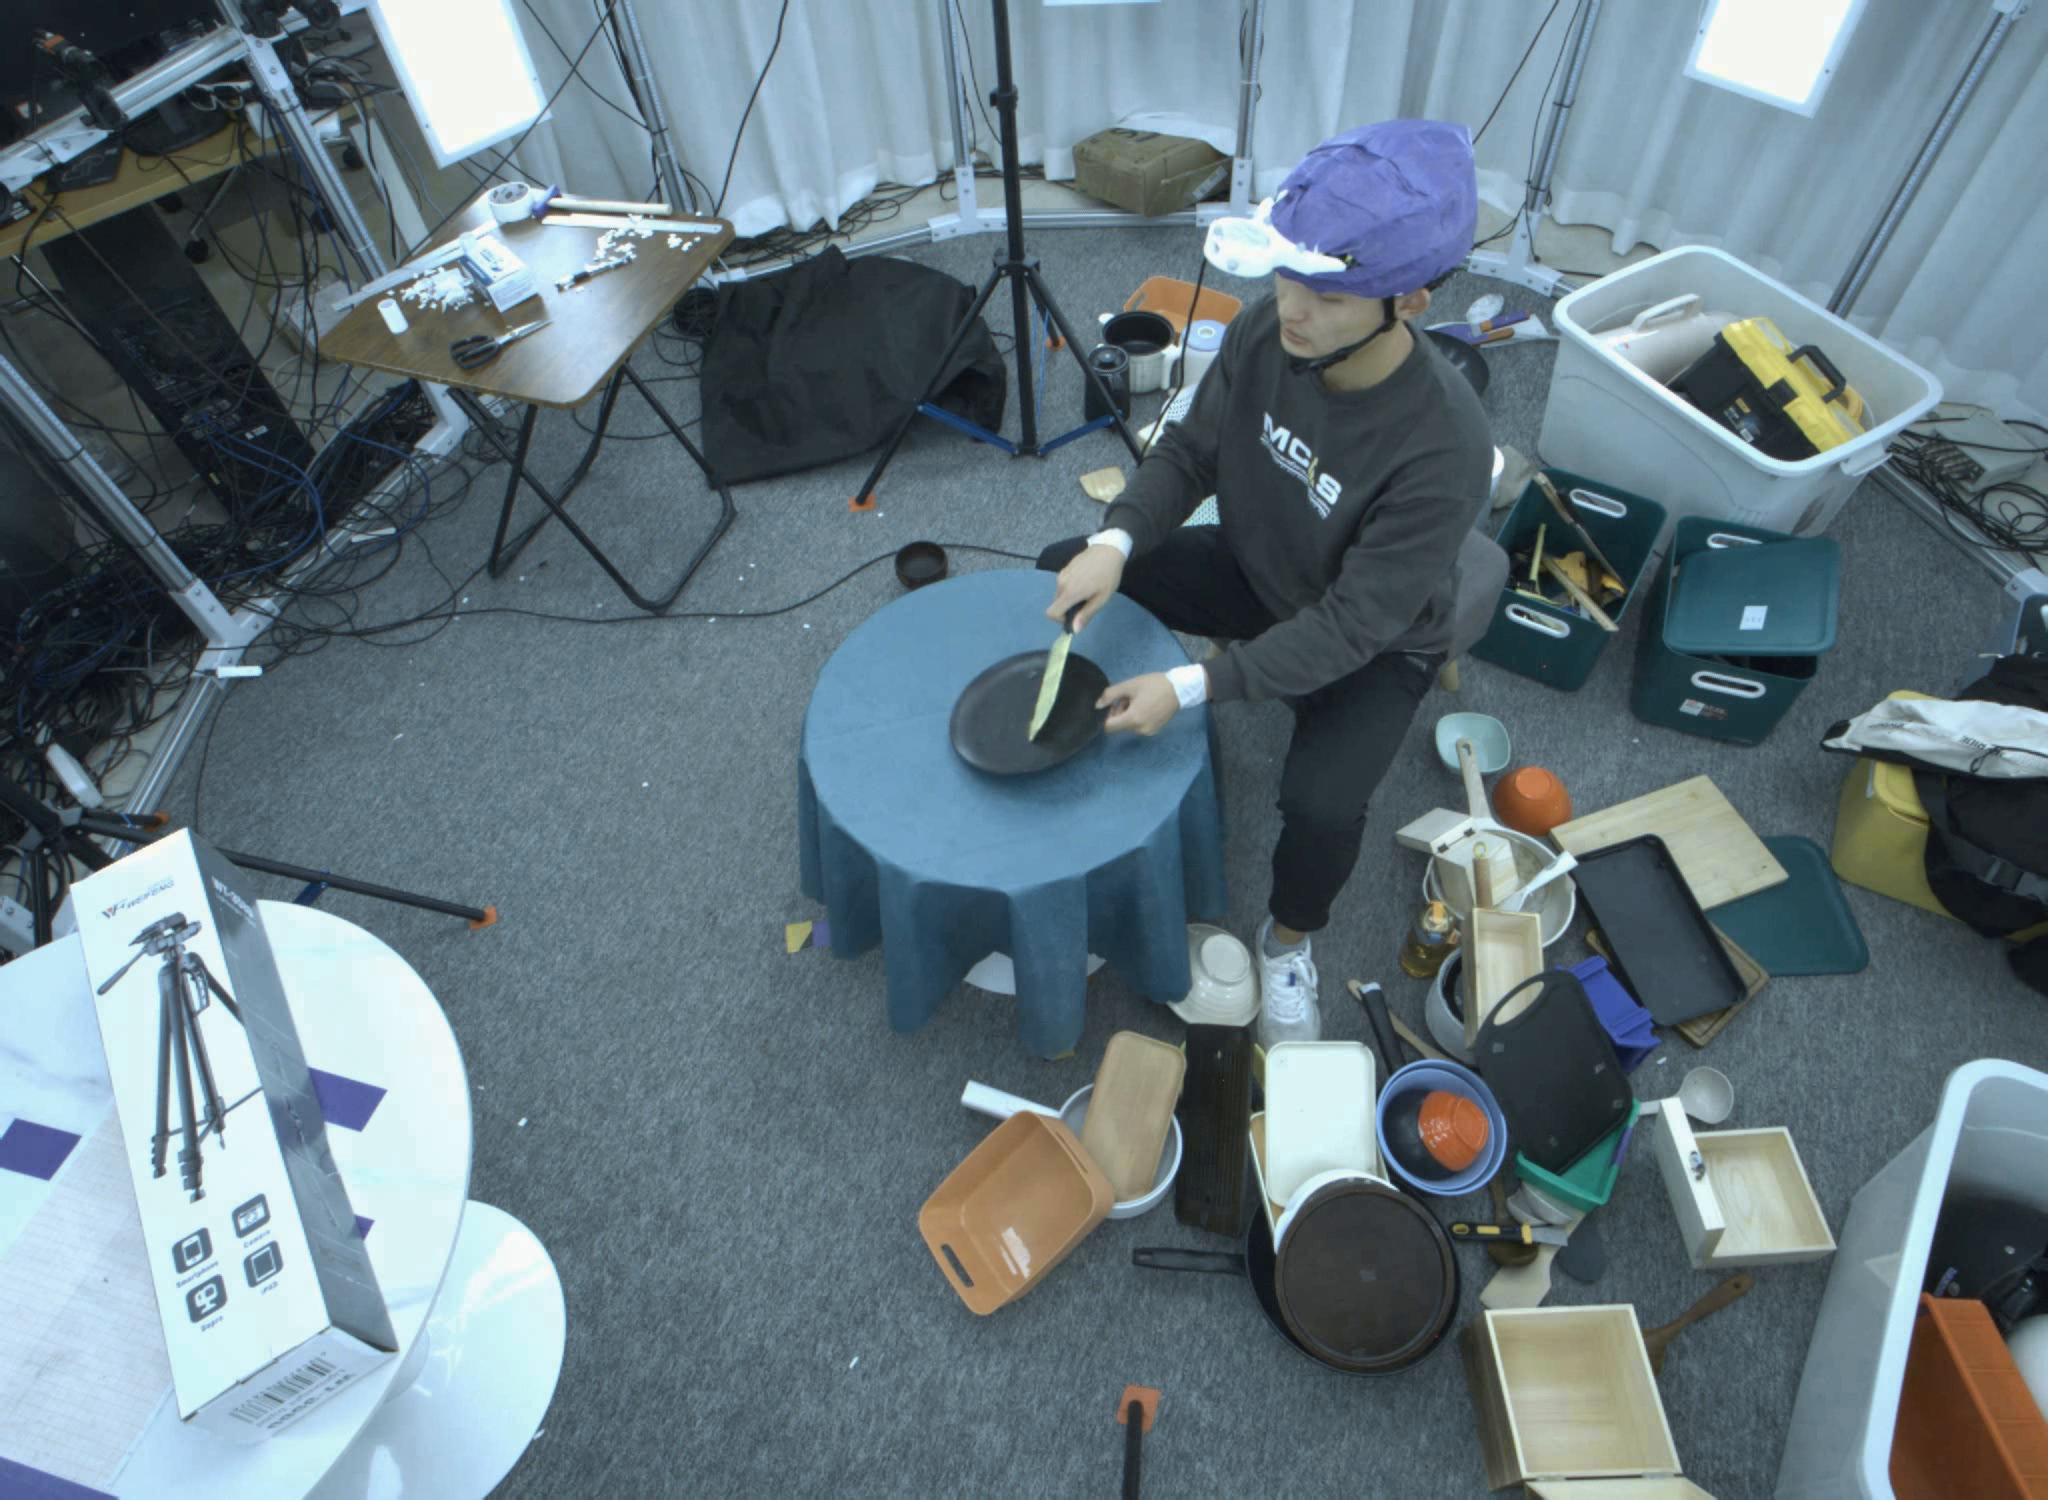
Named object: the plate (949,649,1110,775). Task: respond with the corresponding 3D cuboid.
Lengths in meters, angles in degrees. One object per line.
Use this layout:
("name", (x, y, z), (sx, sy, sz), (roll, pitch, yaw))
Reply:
("plate", (0.009, -0.054, 1.793), (0.242, 0.024, 0.242), (-9, 48, 11))

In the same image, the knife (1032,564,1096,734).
("knife", (0.057, -0.149, 1.802), (0.027, 0.080, 0.288), (26, 65, -18))
